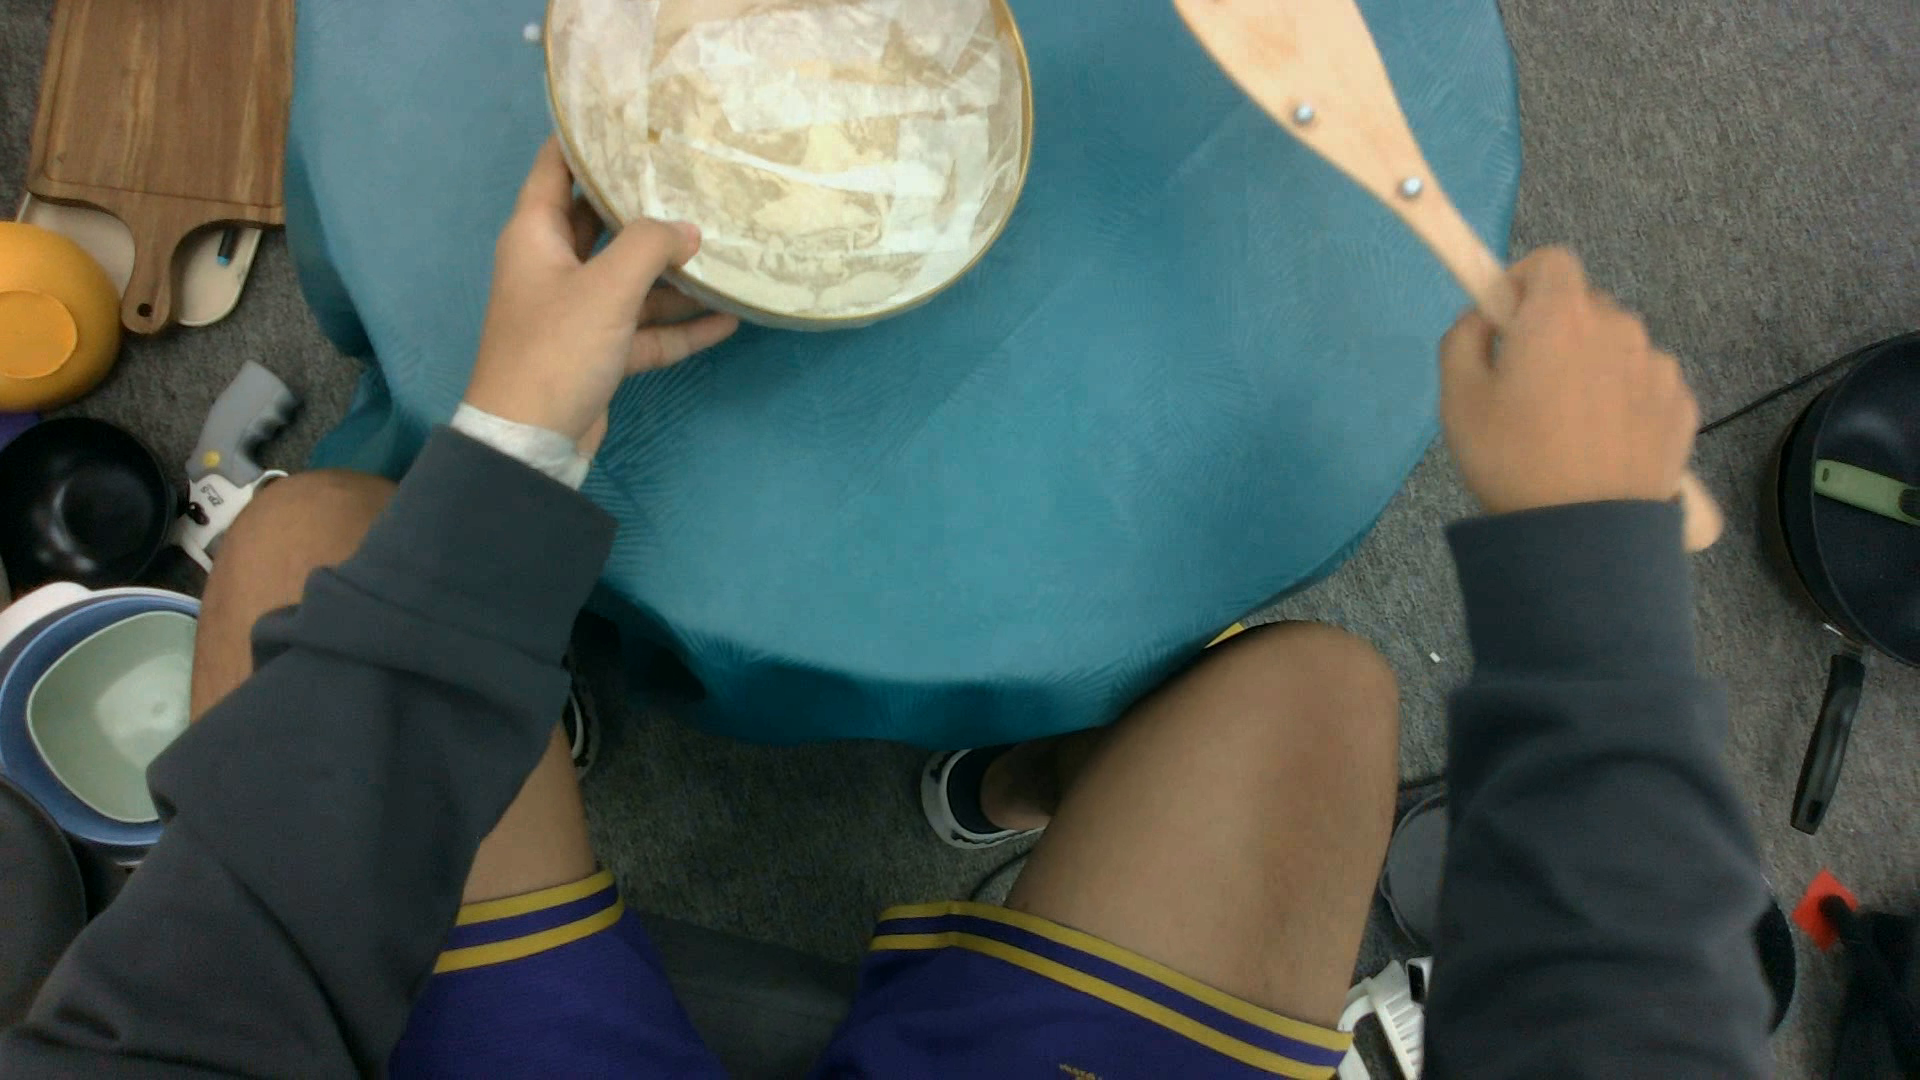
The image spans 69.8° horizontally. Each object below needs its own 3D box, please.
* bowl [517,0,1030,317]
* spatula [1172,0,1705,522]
[{"bbox_3d":[-0.082,-0.186,0.591,0.215,0.094,0.215,3,81,-23],"label":"bowl"},{"bbox_3d":[0.190,-0.141,0.555,0.080,0.016,0.328,-34,82,-17],"label":"spatula"}]
